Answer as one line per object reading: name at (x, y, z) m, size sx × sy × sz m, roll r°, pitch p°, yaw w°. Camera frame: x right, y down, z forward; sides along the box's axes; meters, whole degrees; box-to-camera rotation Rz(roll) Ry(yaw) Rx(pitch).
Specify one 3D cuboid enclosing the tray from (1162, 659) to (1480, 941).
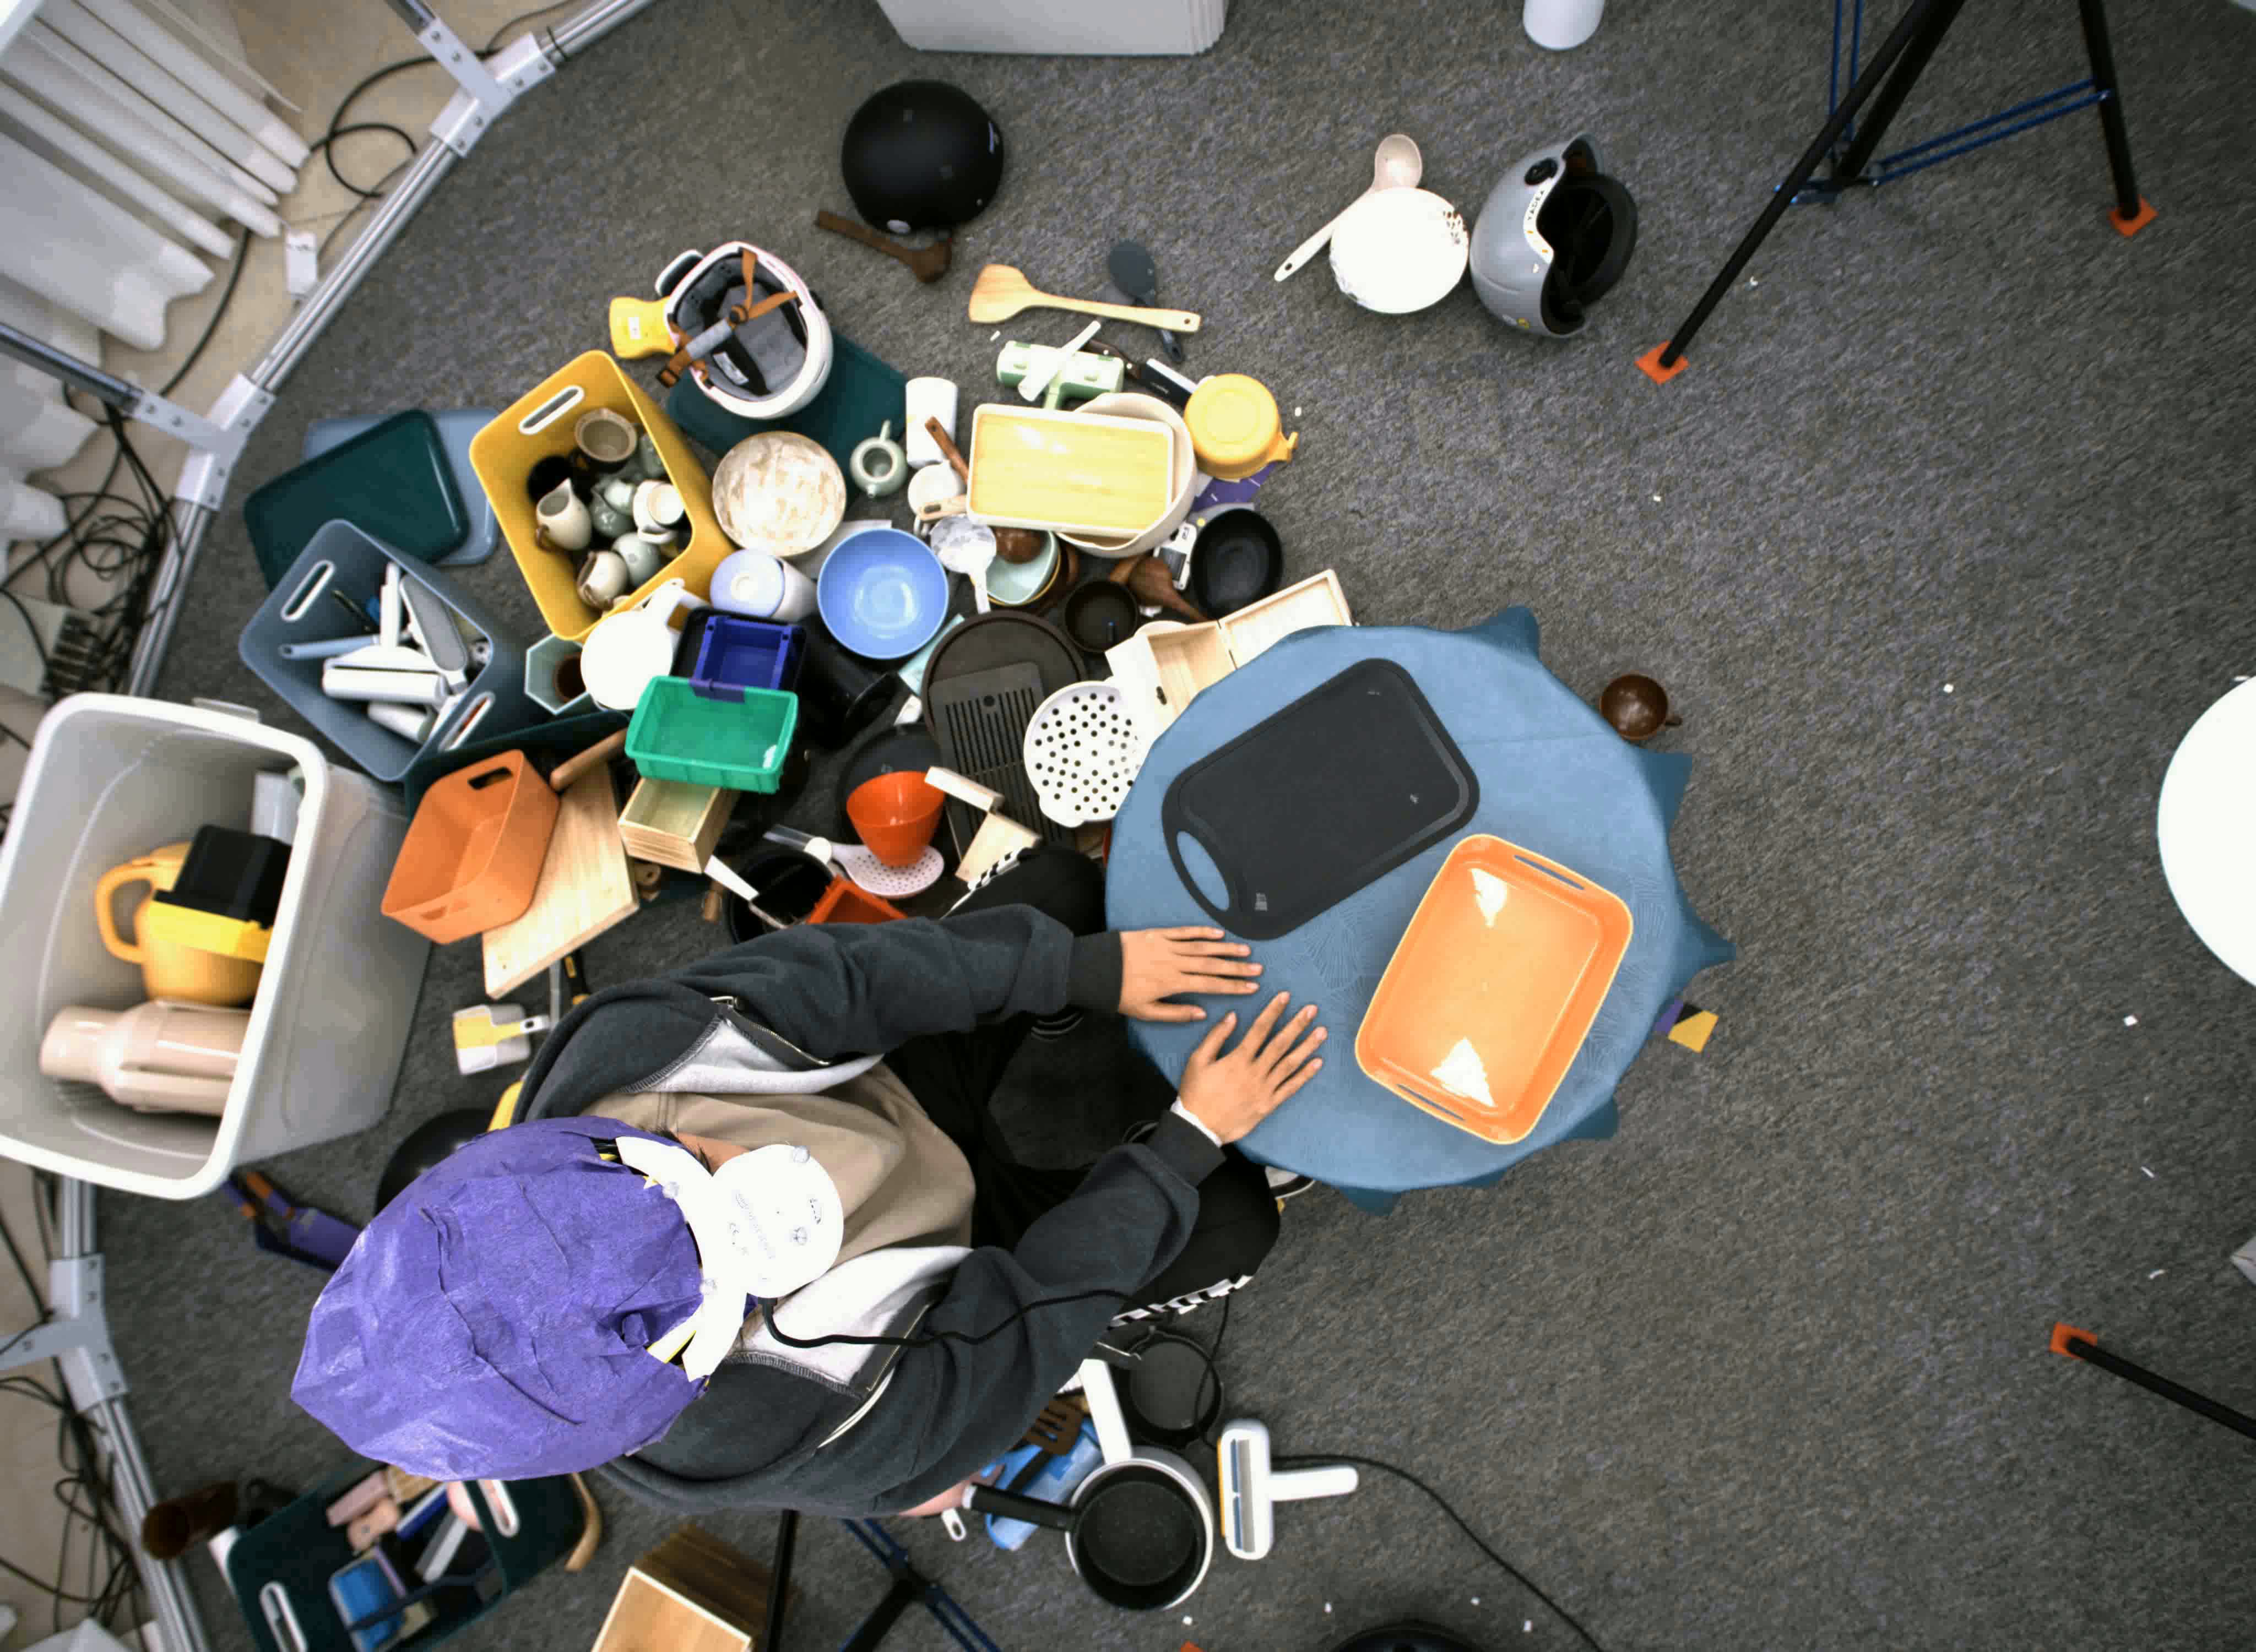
tray at (0.198, -0.024, 1.475) m, size 0.327 × 0.010 × 0.210 m, roll -32°, pitch 82°, yaw 7°

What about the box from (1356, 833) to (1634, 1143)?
box at (0.361, 0.158, 1.385) m, size 0.199 × 0.102 × 0.273 m, roll 27°, pitch 91°, yaw 11°
